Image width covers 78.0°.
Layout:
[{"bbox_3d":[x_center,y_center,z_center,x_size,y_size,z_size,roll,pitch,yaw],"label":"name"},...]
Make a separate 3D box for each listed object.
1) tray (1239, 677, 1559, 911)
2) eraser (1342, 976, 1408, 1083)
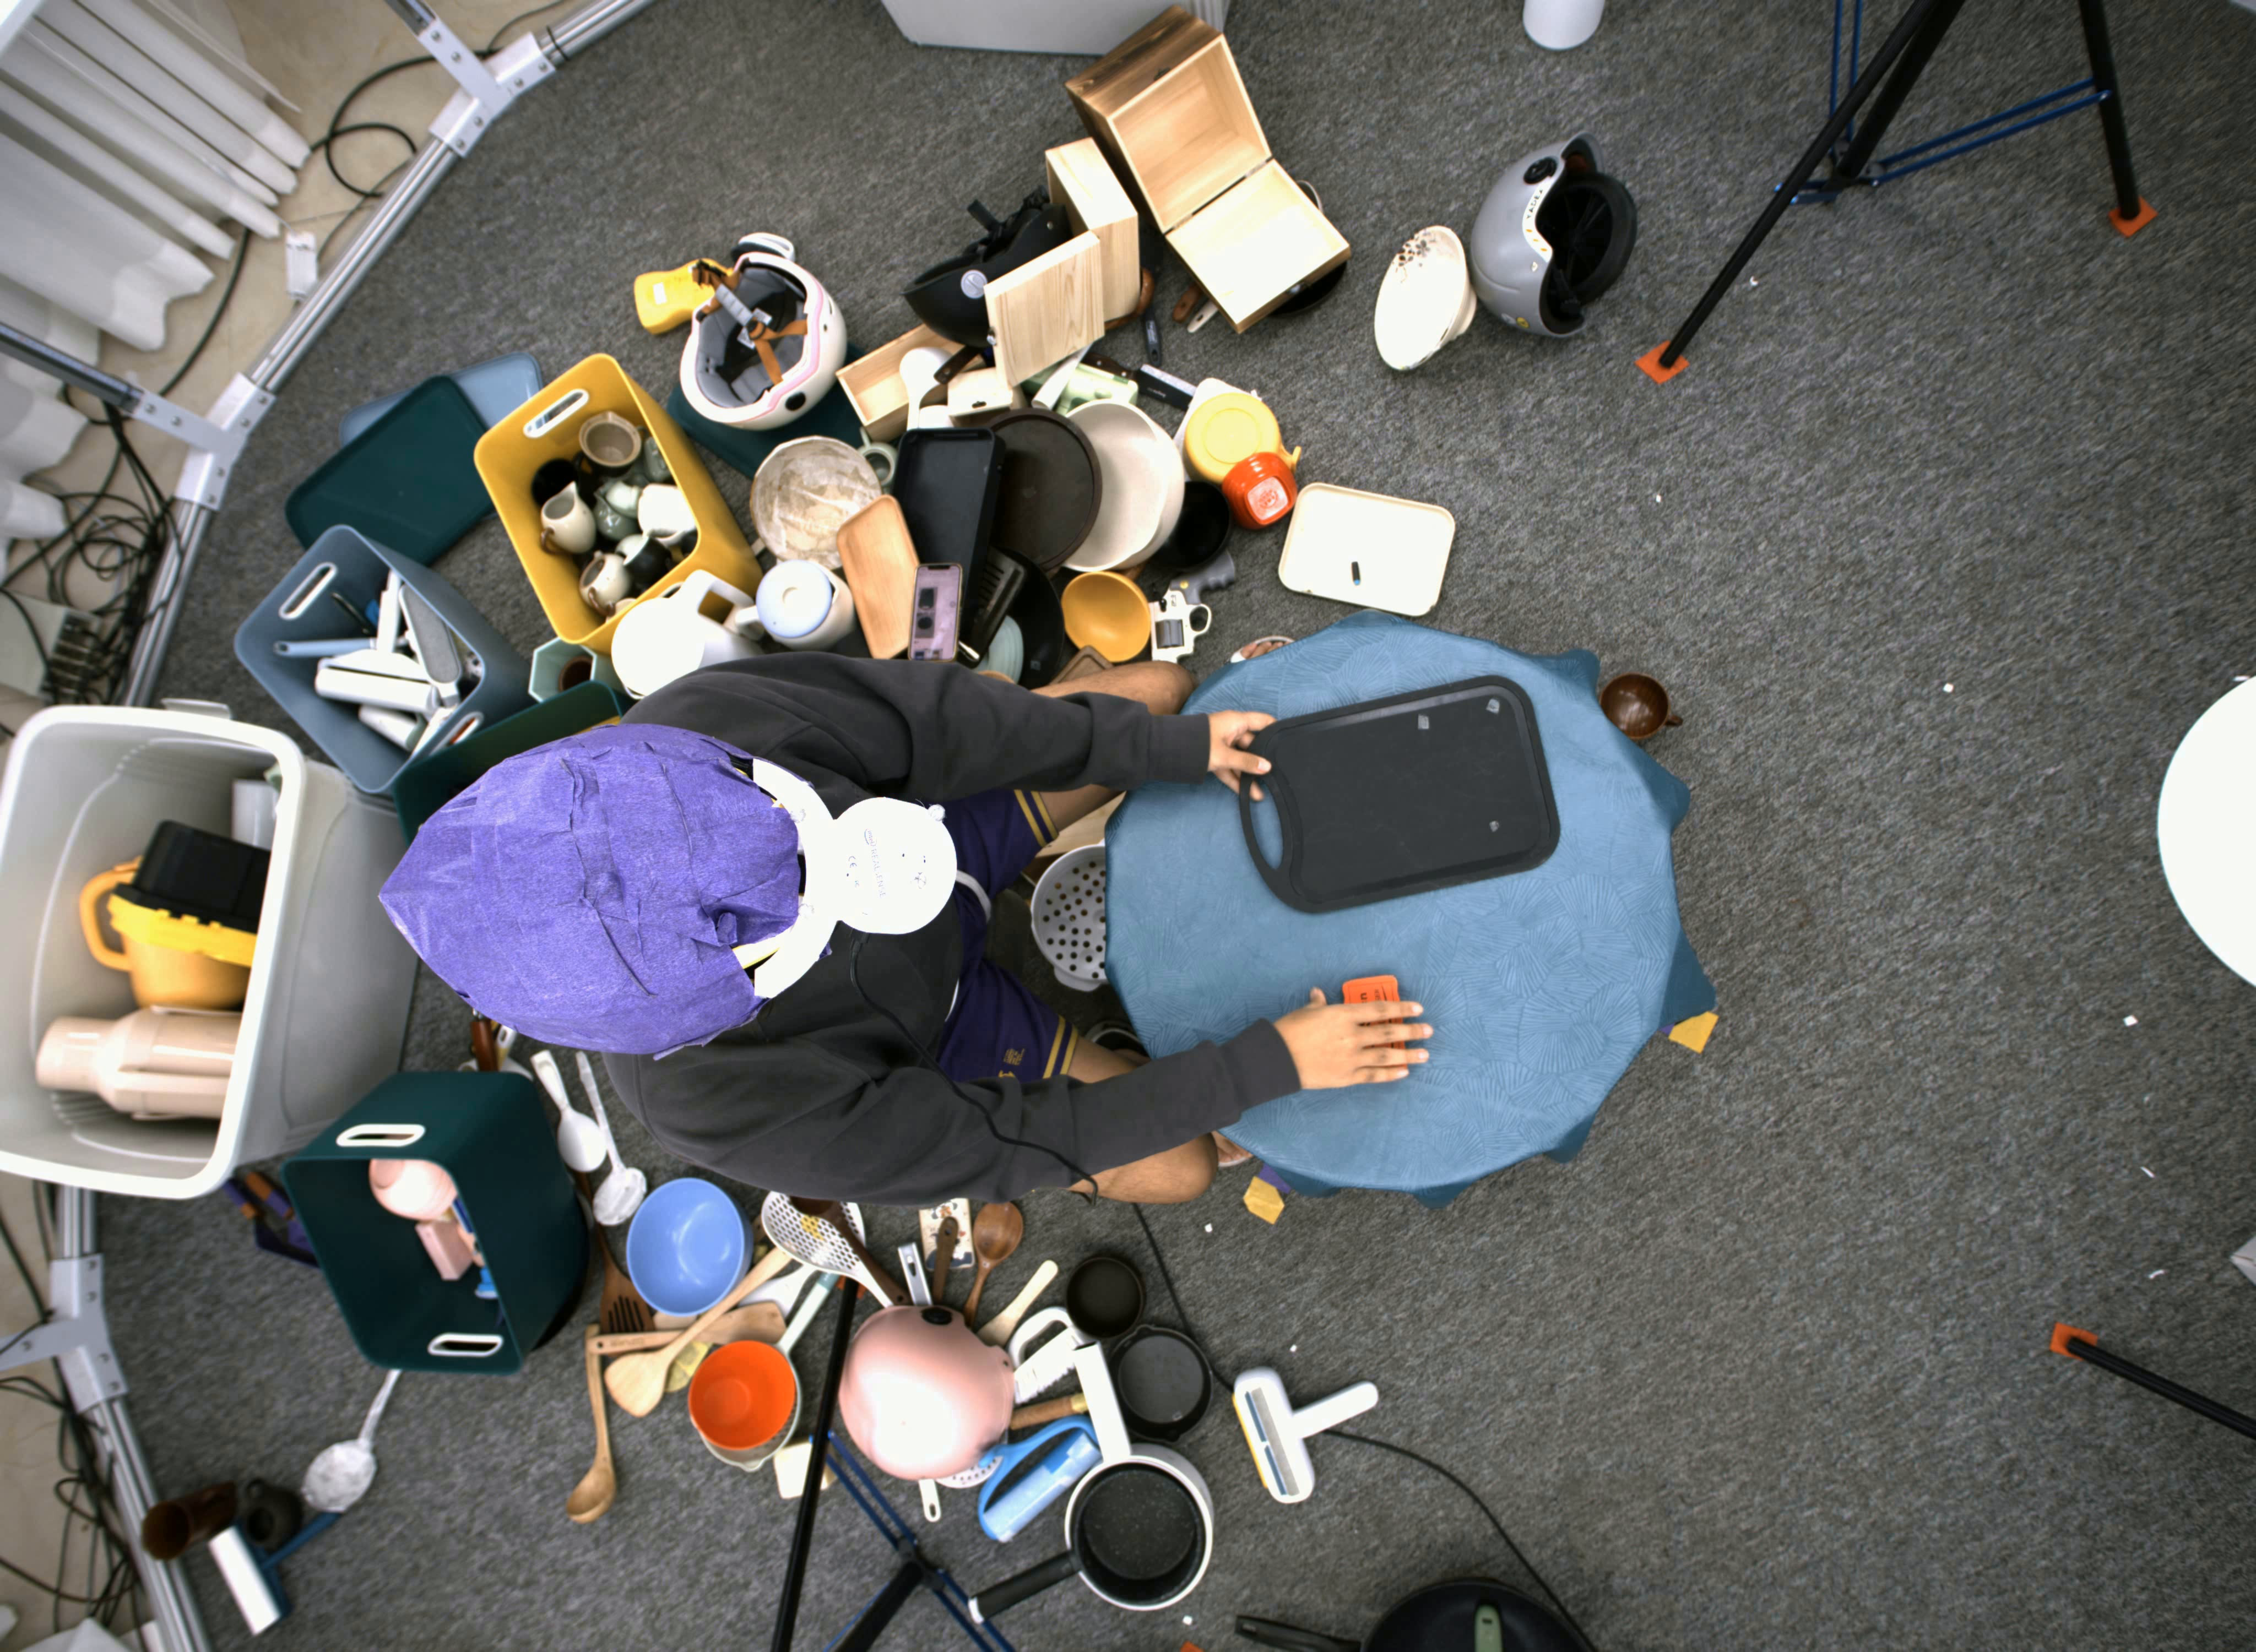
[{"bbox_3d":[0.280,-0.032,1.450,0.327,0.010,0.210,-11,89,8],"label":"tray"},{"bbox_3d":[0.257,0.210,1.439,0.059,0.023,0.107,-7,84,9],"label":"eraser"}]
